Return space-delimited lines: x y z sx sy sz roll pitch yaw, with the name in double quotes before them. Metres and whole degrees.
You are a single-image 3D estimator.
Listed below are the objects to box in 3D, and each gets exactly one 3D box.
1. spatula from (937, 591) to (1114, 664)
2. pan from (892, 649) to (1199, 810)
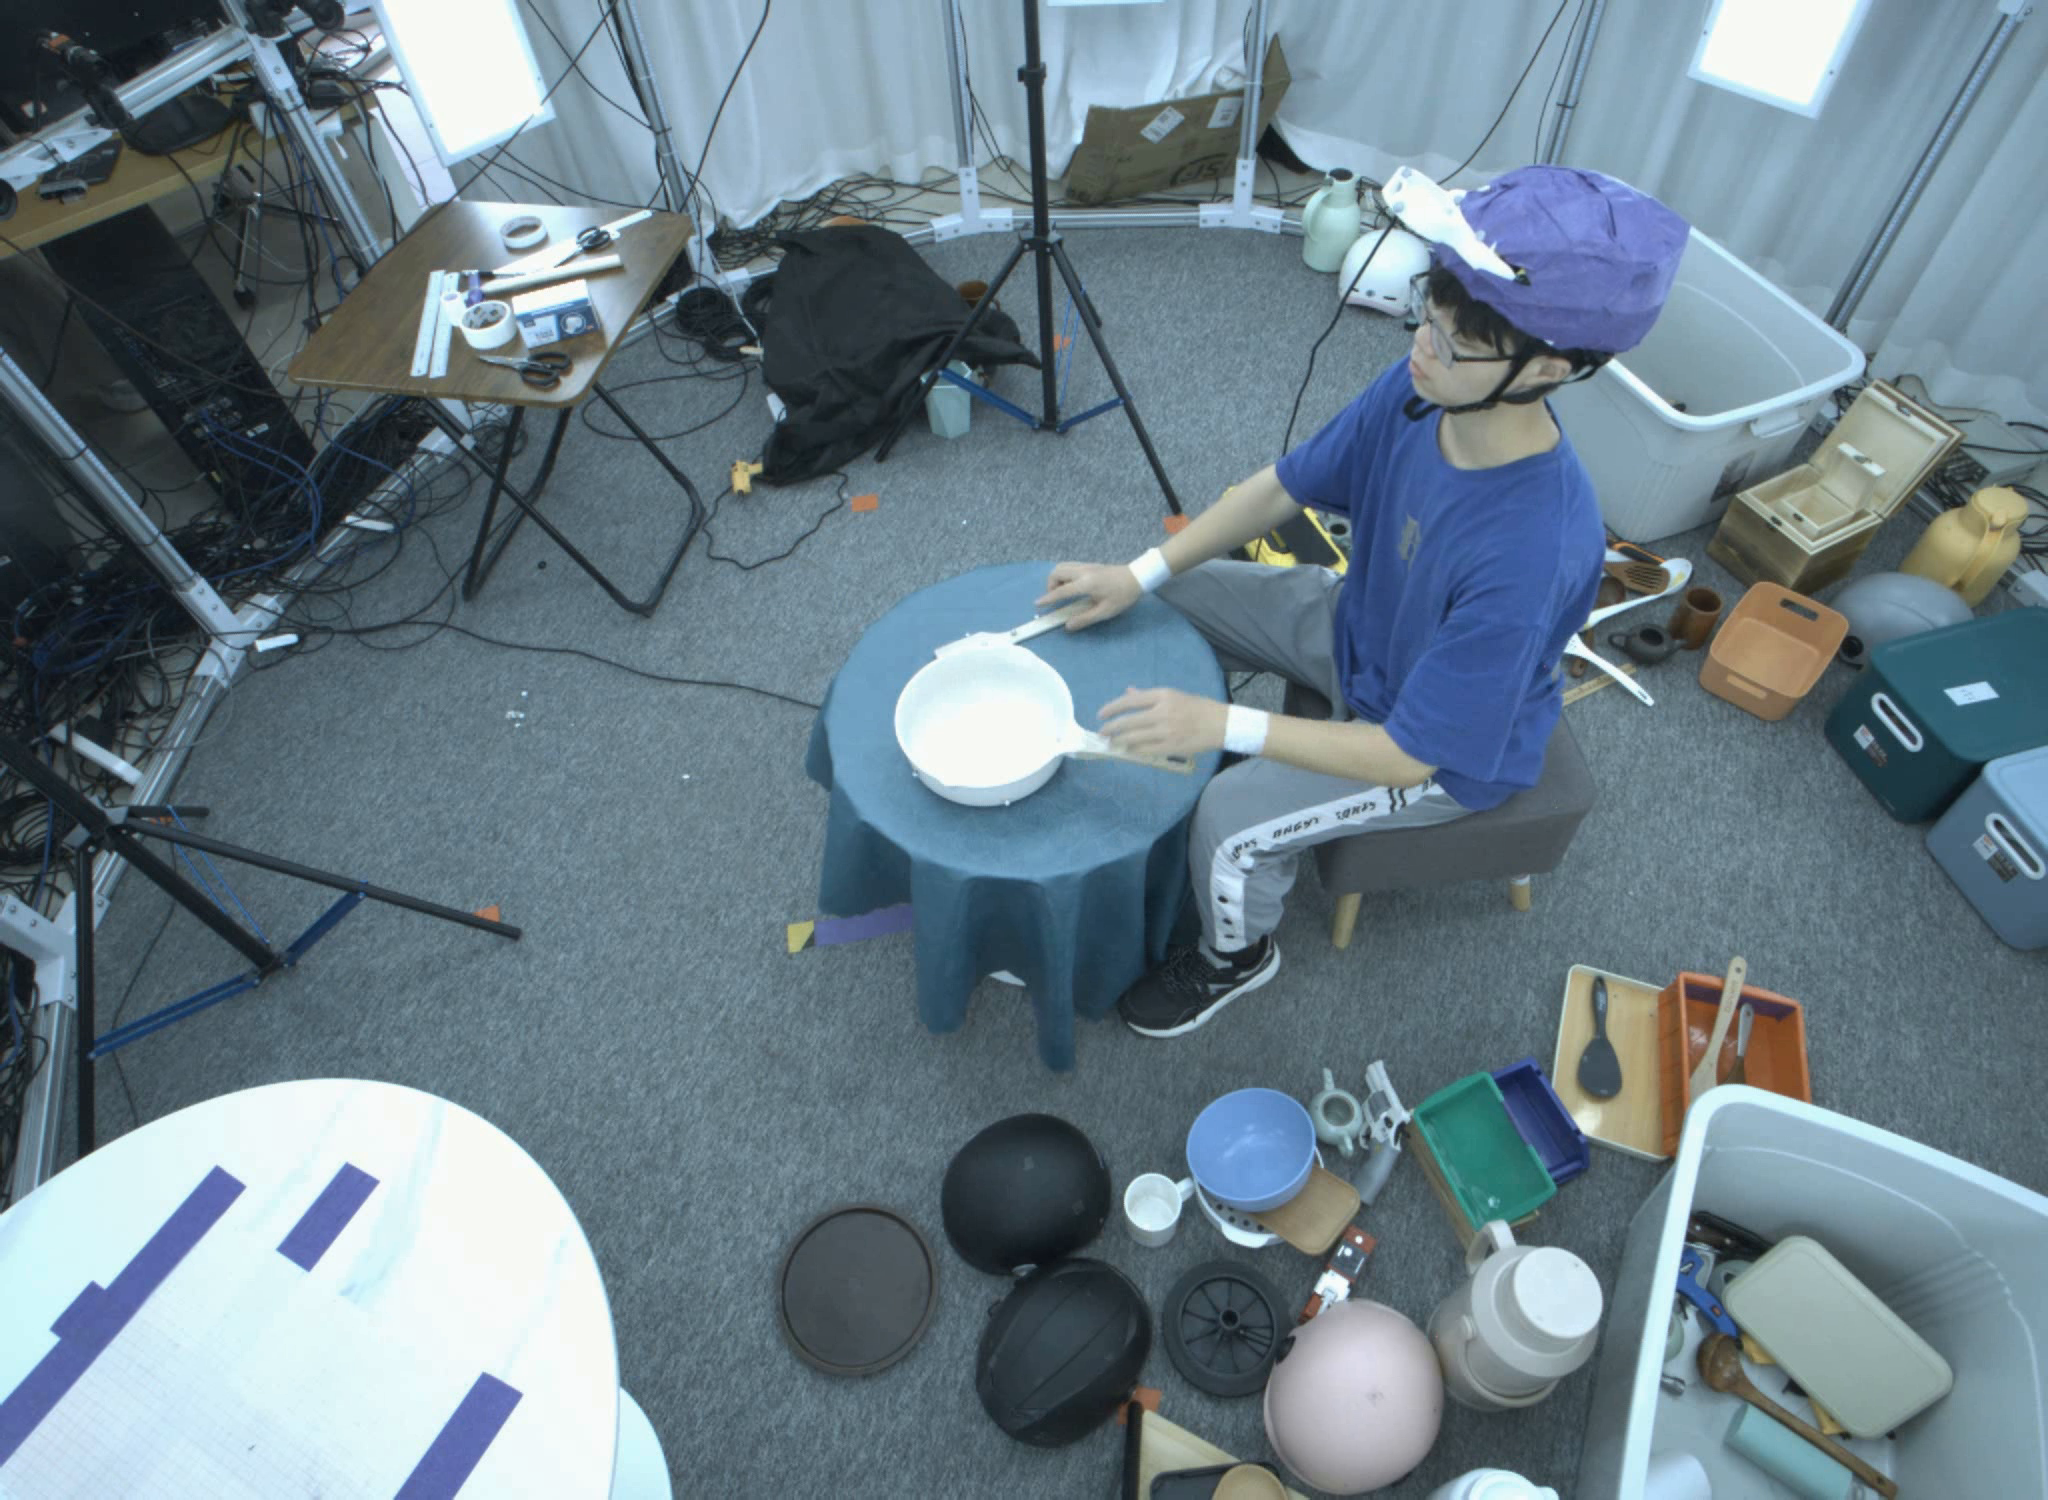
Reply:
"spatula" 0.008 -0.186 1.905 0.295 0.011 0.071 -25 56 -14
"pan" 0.029 -0.005 1.719 0.431 0.103 0.263 15 55 12
